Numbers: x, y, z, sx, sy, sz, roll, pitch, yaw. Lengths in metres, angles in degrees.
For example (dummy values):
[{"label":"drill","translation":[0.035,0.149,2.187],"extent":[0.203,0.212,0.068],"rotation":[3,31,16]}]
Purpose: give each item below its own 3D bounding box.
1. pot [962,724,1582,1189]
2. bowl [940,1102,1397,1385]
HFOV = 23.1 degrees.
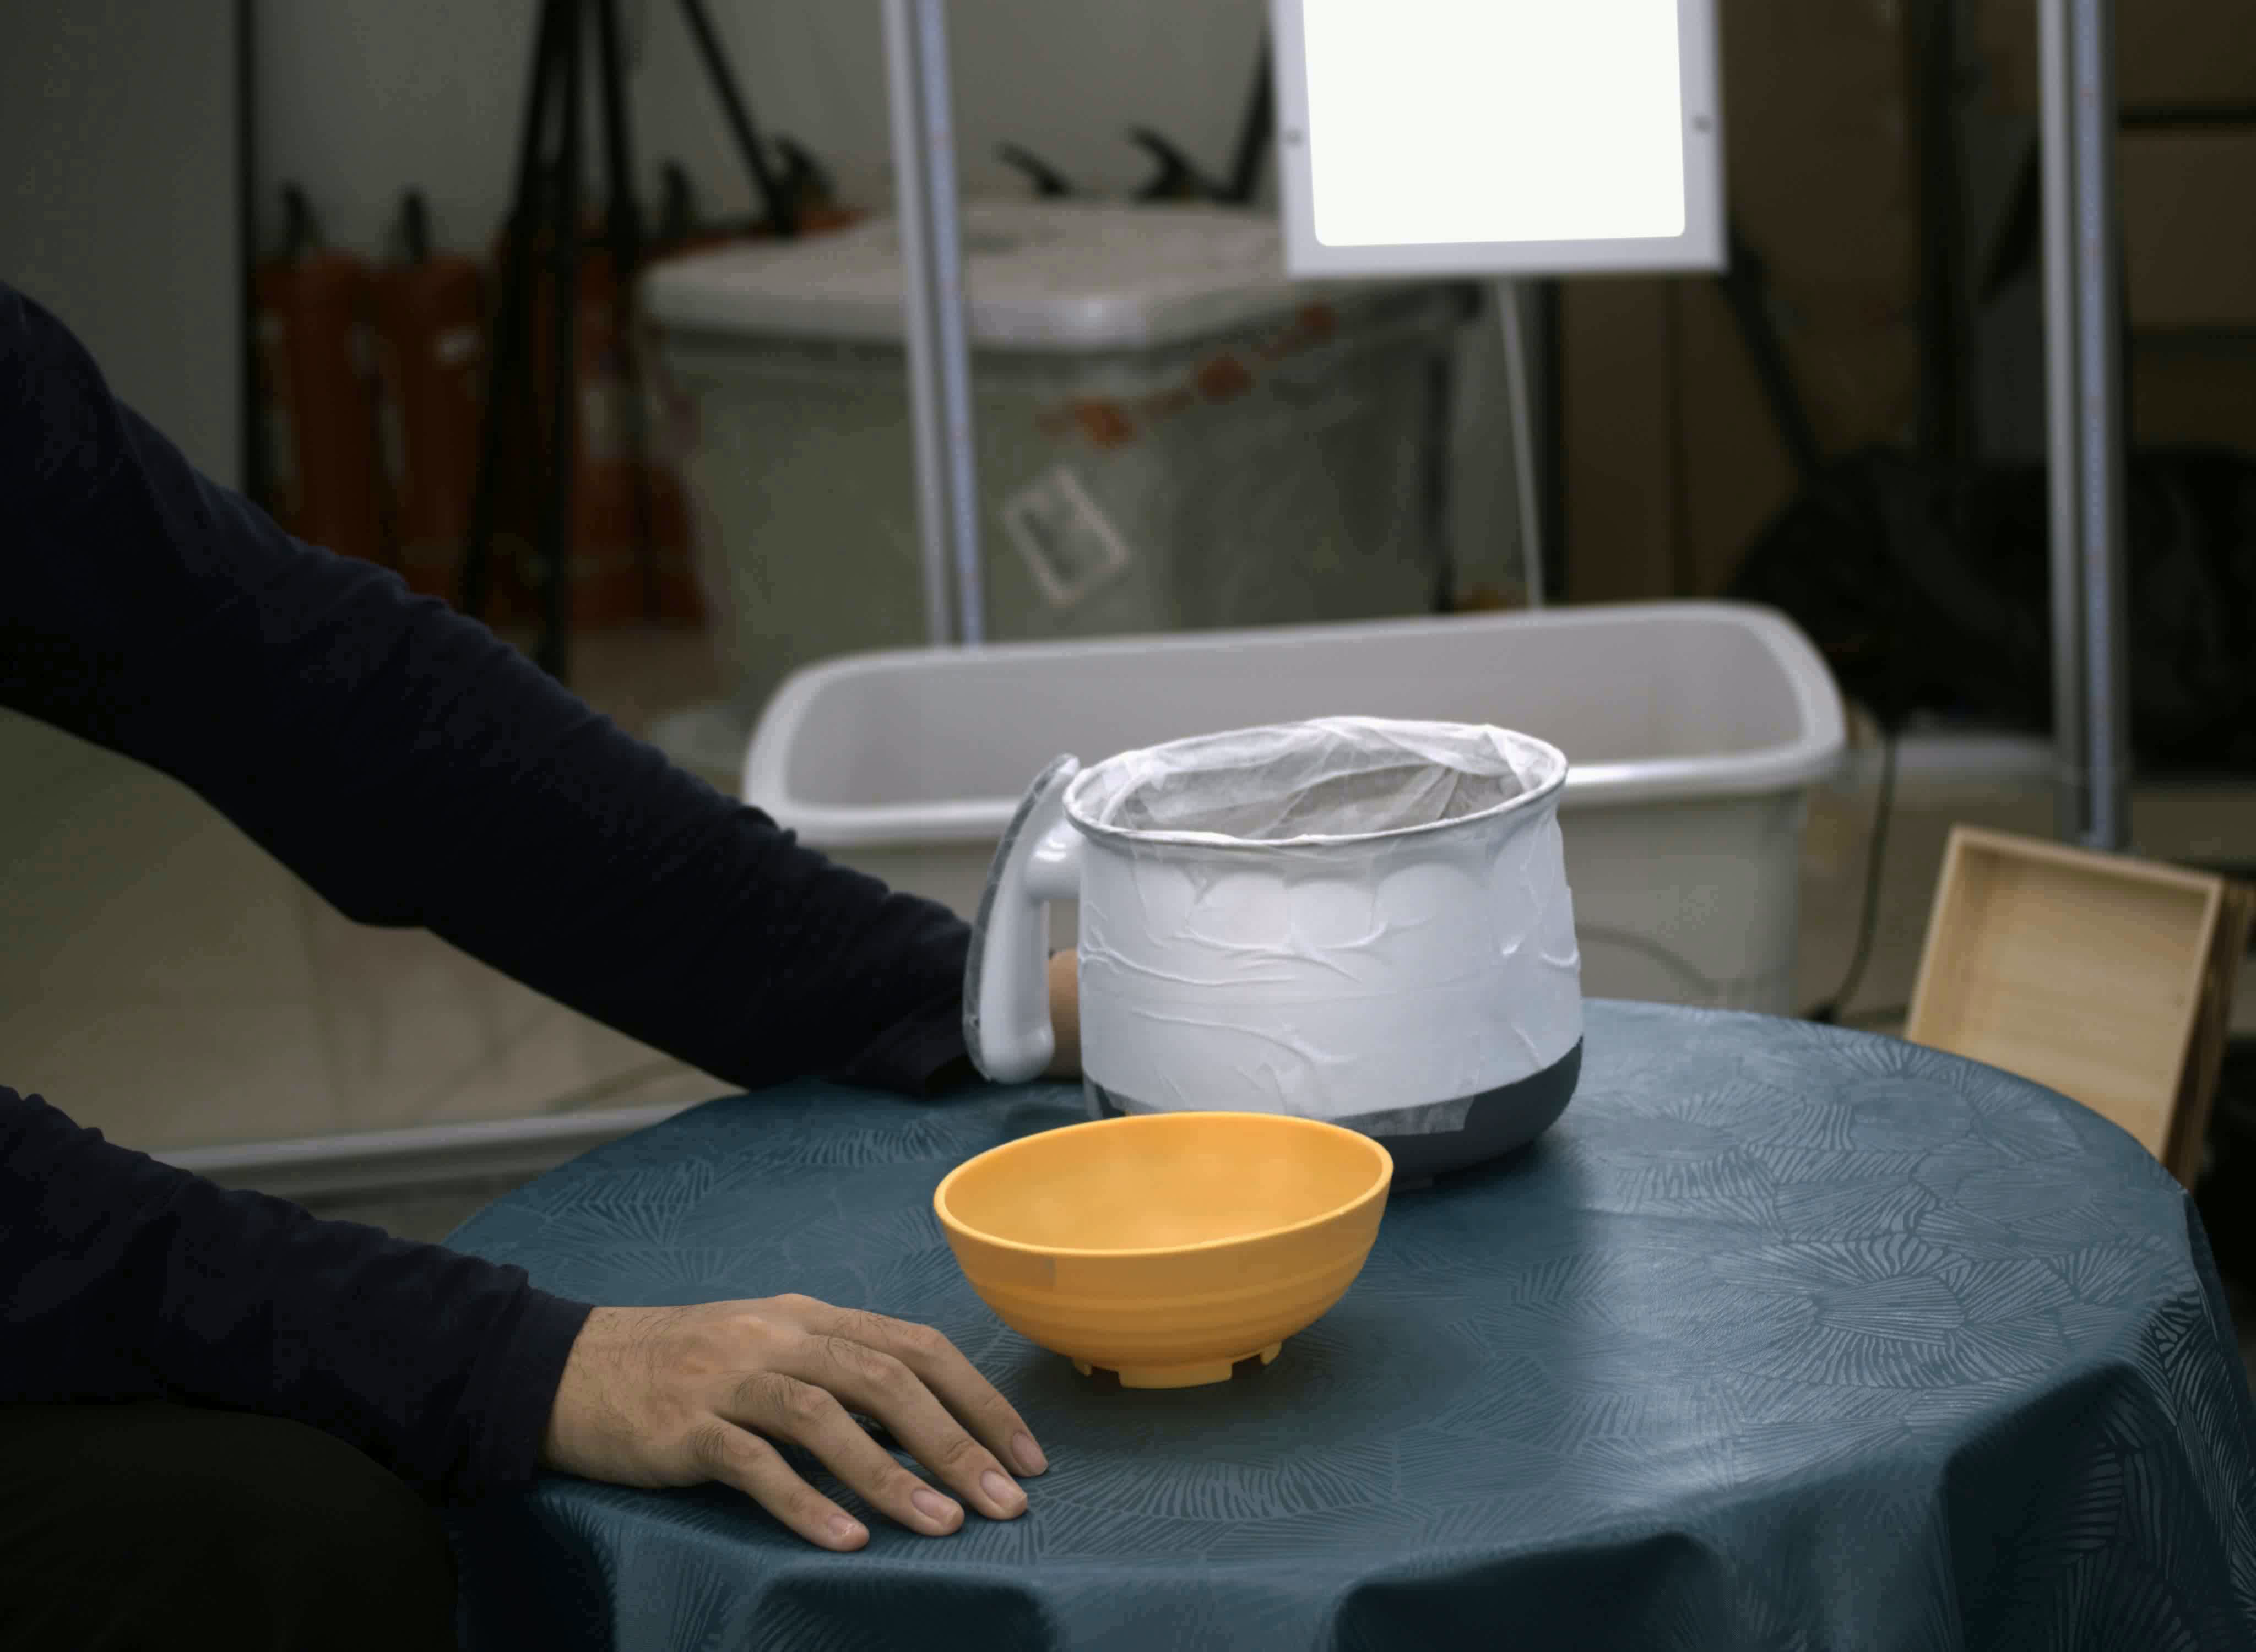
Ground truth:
[{"label":"pot","translation":[0.046,0.043,1.937],"extent":[0.238,0.137,0.175],"rotation":[3,13,28]},{"label":"bowl","translation":[0.016,0.136,1.726],"extent":[0.145,0.060,0.145],"rotation":[-7,14,0]}]
